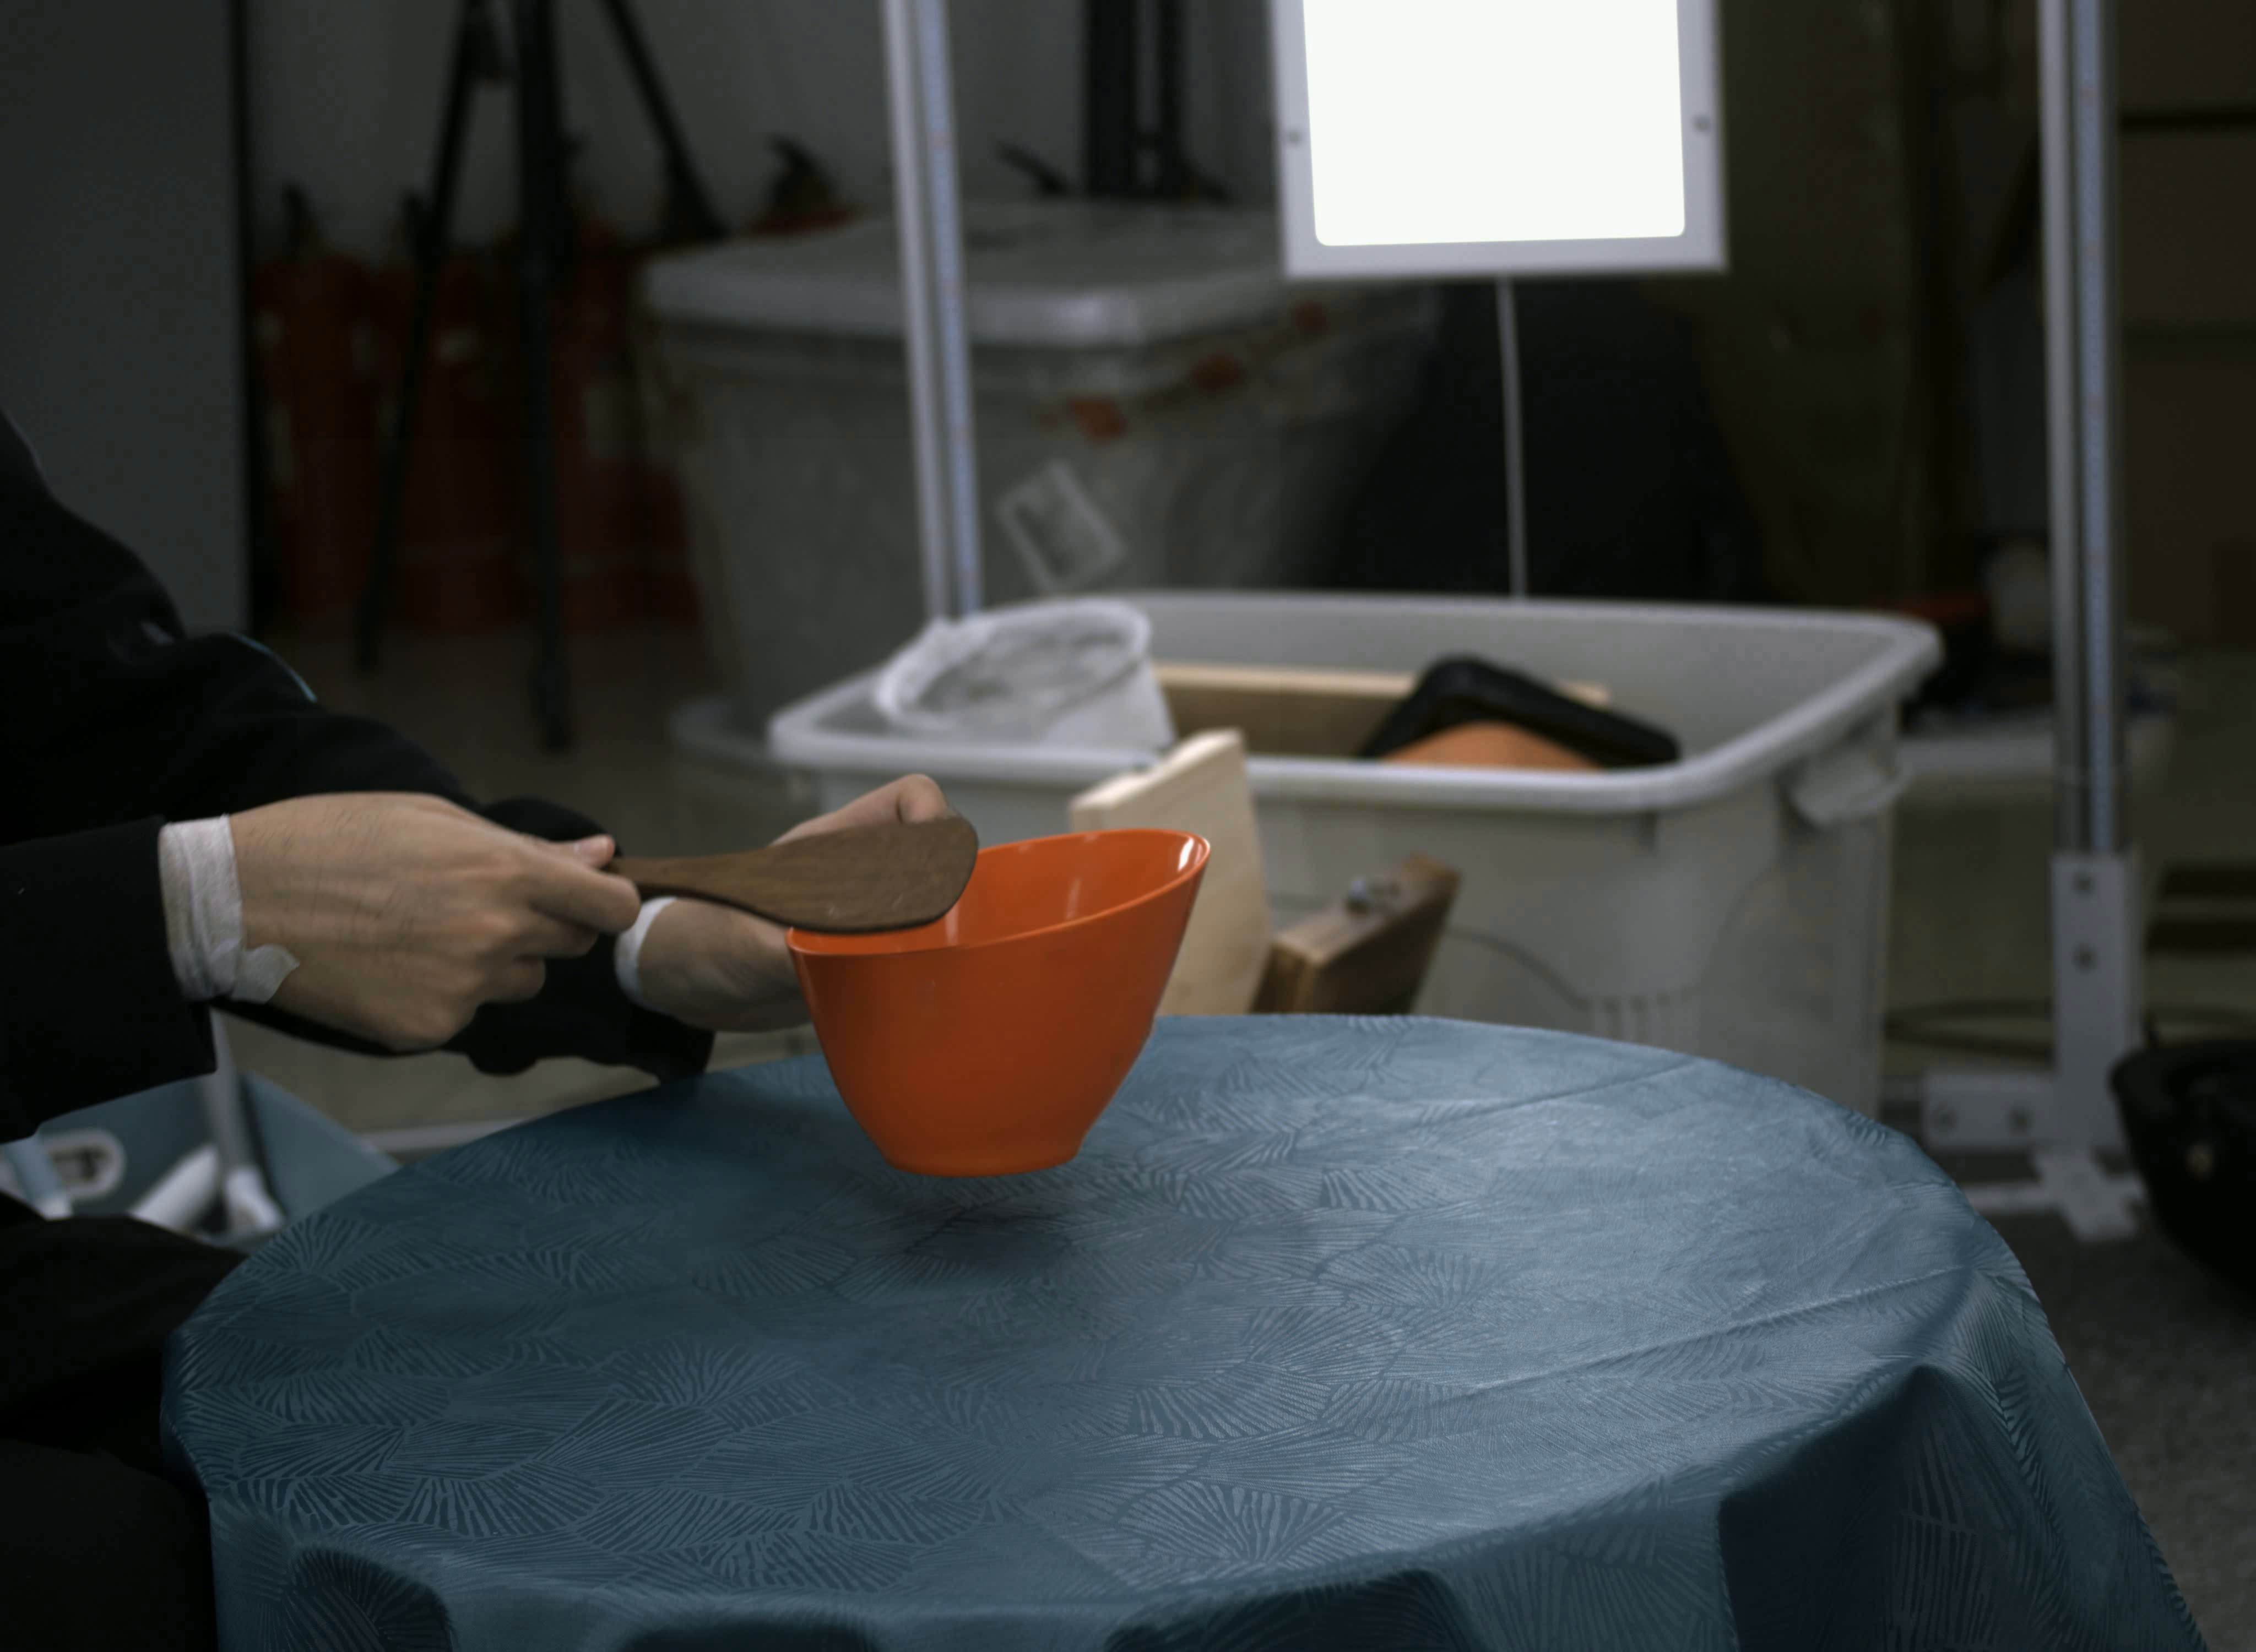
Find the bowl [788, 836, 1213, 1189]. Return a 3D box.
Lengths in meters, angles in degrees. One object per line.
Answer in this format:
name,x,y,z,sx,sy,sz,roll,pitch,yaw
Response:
bowl,-0.040,0.066,1.885,0.147,0.105,0.148,-4,9,-1

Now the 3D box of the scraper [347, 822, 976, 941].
scraper,-0.155,0.018,1.820,0.212,0.011,0.075,0,27,11
